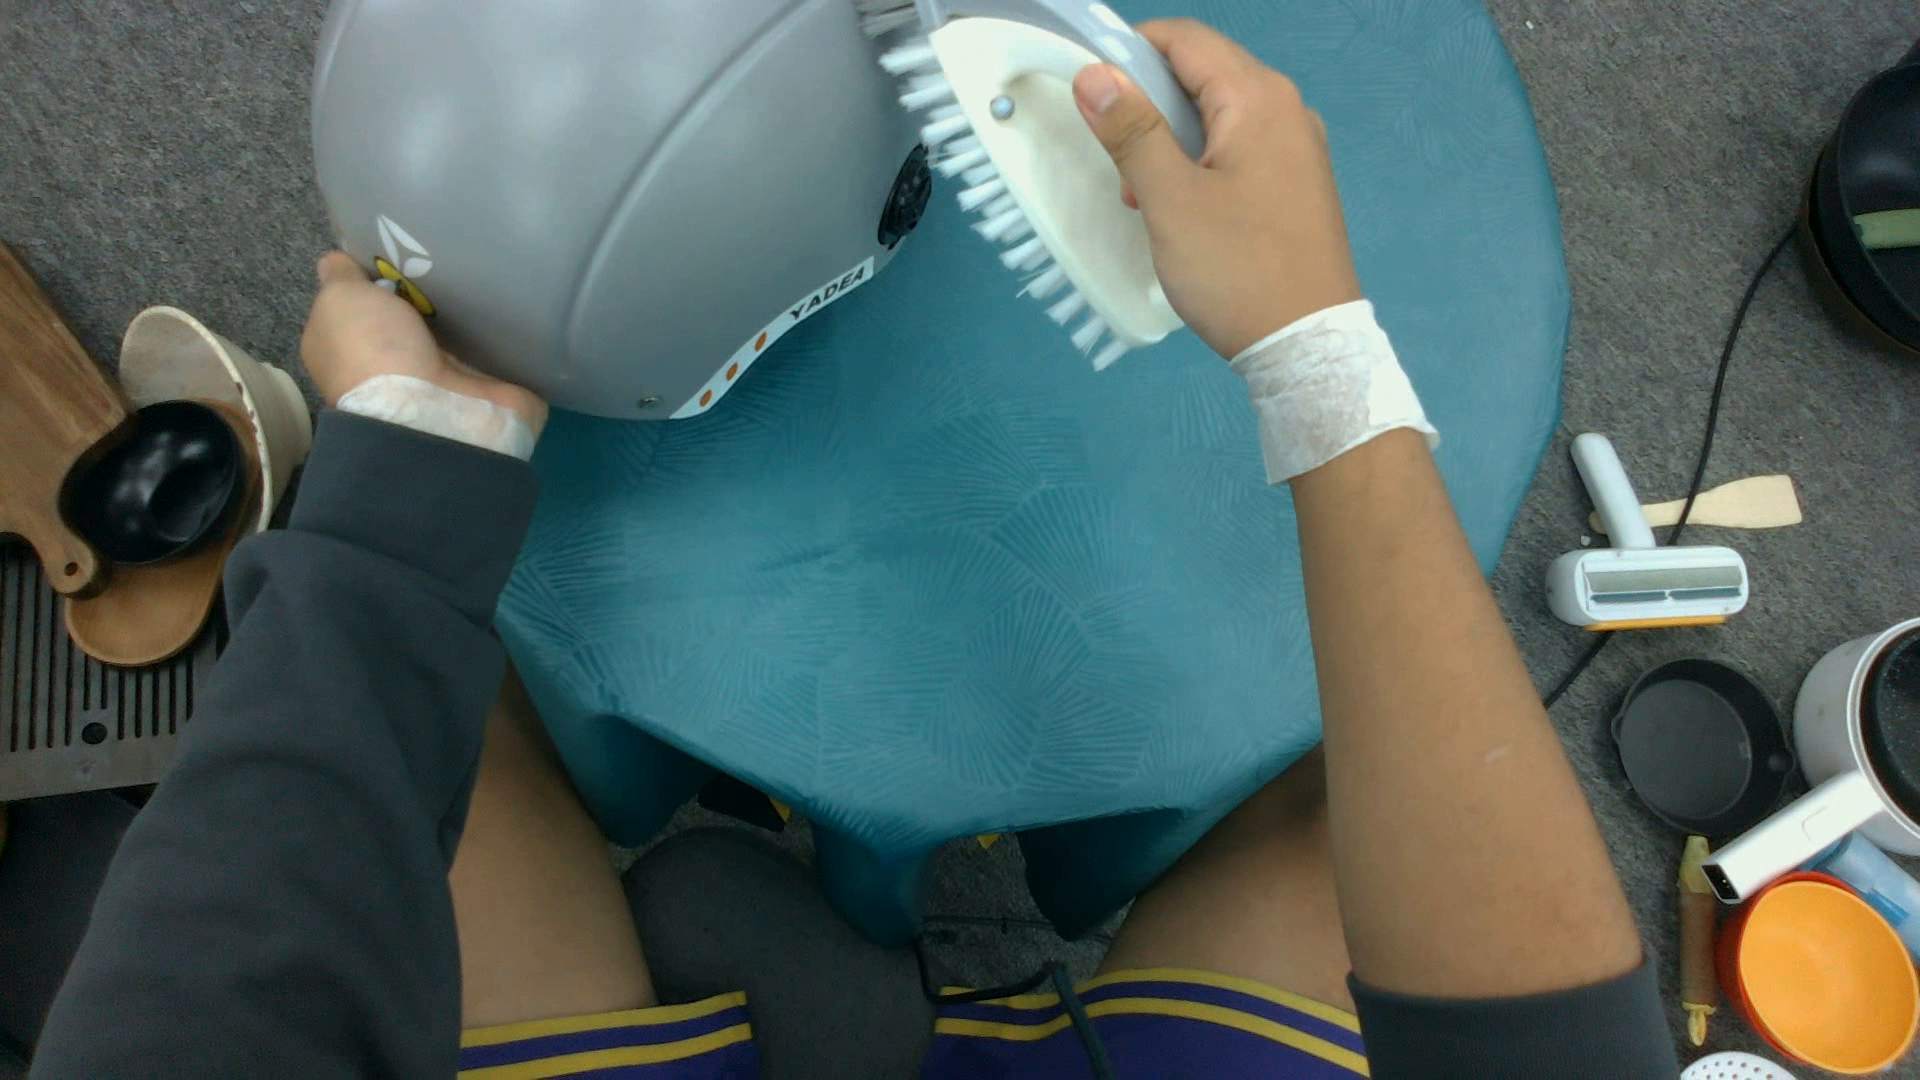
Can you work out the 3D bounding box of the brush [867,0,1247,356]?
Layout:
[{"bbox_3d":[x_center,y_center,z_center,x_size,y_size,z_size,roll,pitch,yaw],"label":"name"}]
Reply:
[{"bbox_3d":[0.037,-0.155,0.494,0.175,0.094,0.062,51,57,-14],"label":"brush"}]

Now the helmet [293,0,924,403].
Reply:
[{"bbox_3d":[-0.127,-0.197,0.531,0.232,0.168,0.277,39,76,-1],"label":"helmet"}]
